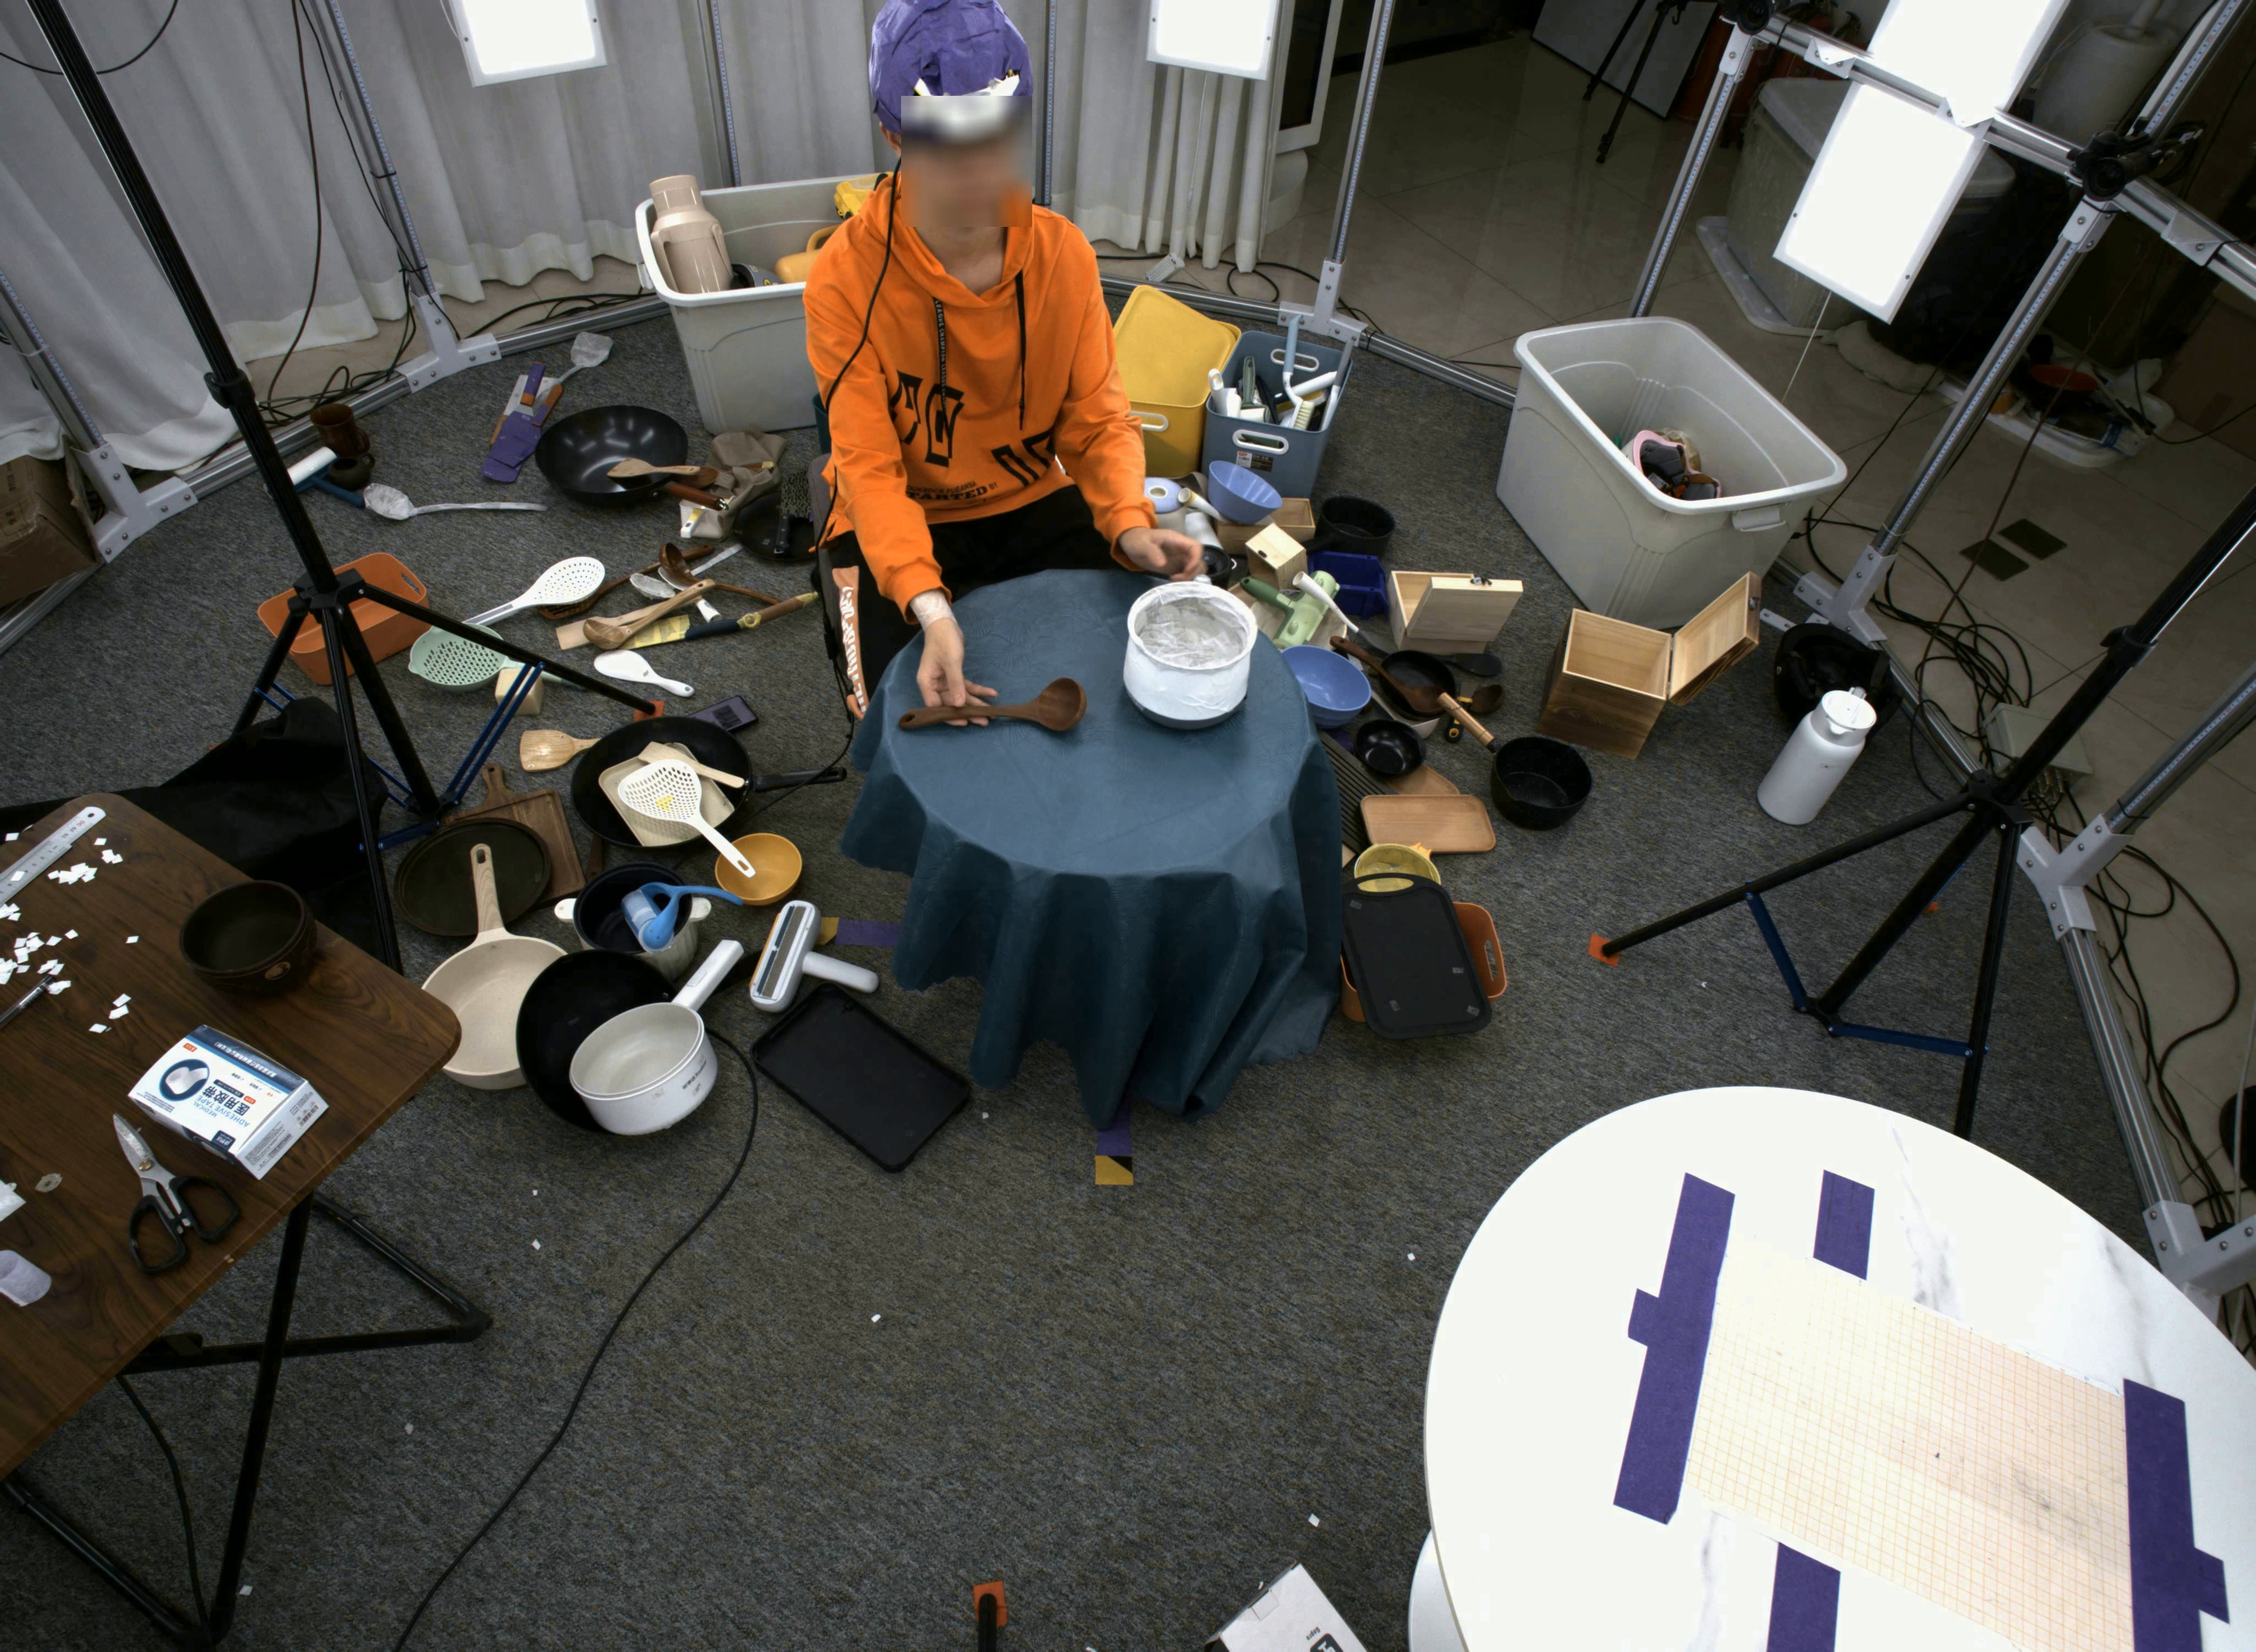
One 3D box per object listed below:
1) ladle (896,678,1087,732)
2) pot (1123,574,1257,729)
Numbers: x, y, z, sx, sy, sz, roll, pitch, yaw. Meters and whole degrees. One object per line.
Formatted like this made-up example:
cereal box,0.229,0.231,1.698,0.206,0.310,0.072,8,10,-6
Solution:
ladle,-0.186,-0.161,1.755,0.260,0.064,0.078,-3,63,-7
pot,0.088,-0.255,1.807,0.179,0.133,0.239,9,50,3
